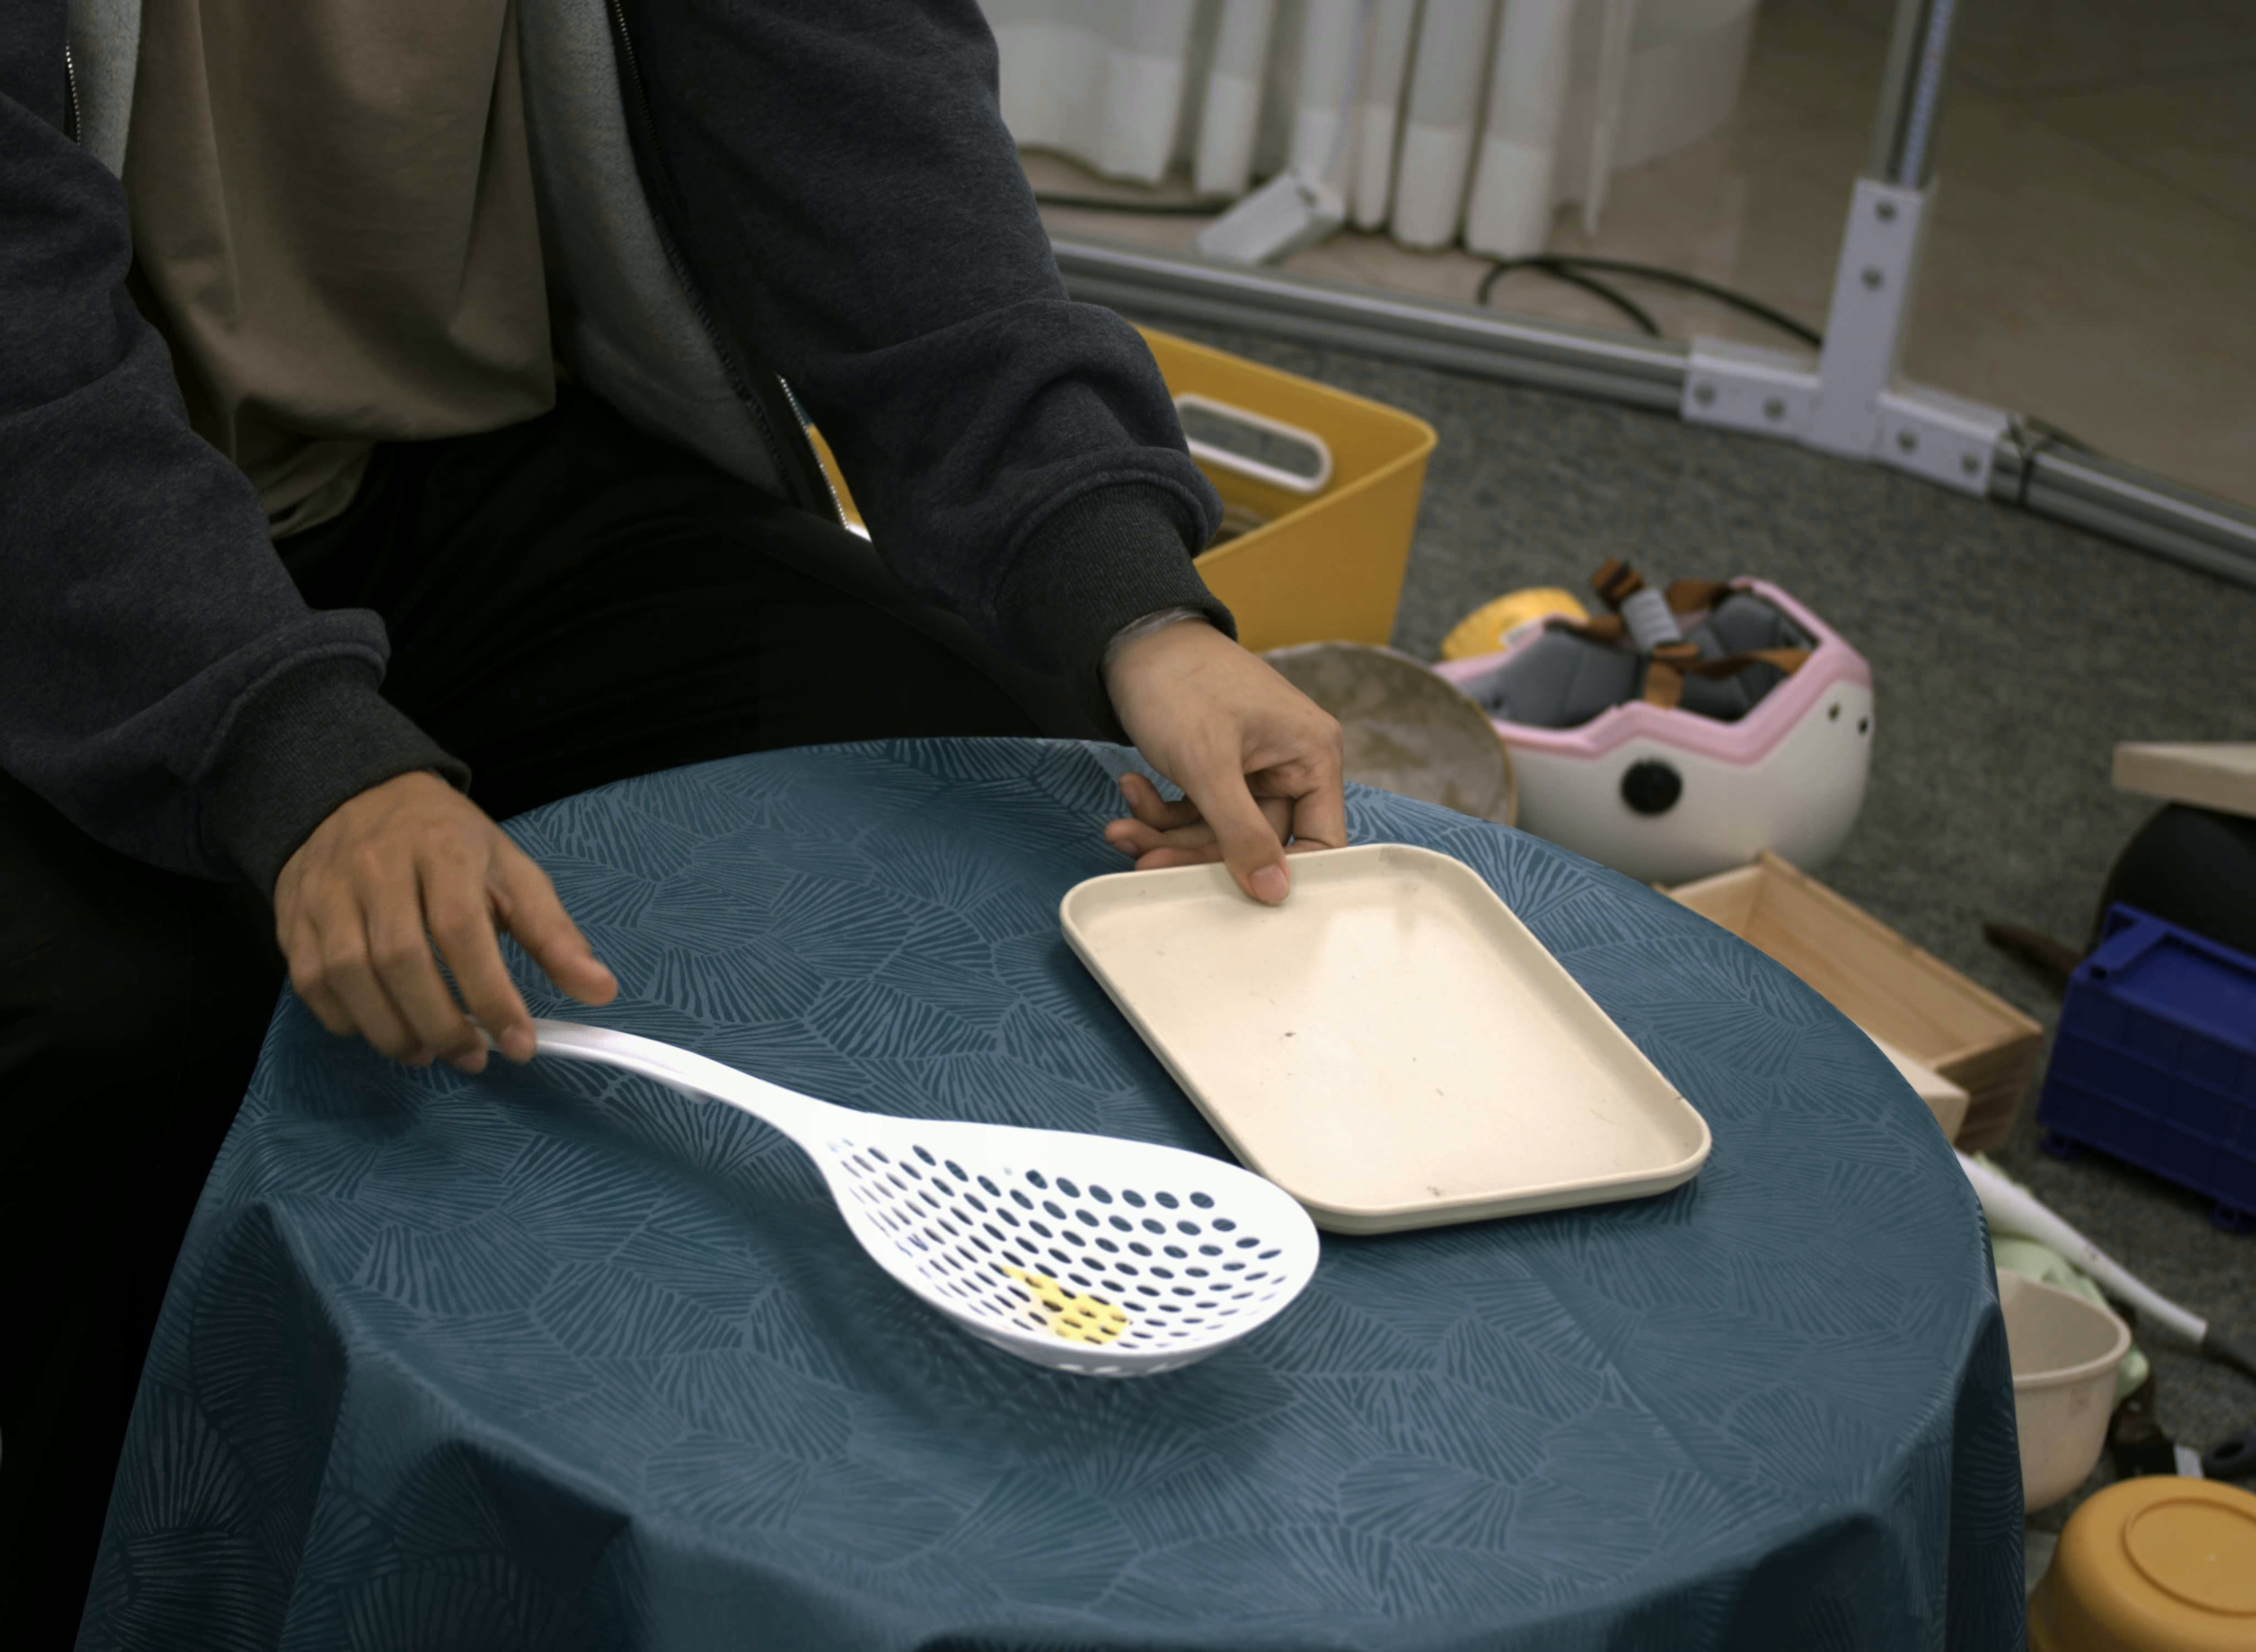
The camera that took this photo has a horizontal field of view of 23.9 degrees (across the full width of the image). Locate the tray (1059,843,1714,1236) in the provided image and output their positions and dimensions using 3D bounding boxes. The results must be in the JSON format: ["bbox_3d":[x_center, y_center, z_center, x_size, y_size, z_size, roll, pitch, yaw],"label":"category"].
[{"bbox_3d":[0.088,0.074,1.897,0.170,0.017,0.242,-7,30,-22],"label":"tray"}]

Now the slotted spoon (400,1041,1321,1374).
[{"bbox_3d":[-0.099,0.111,1.759,0.350,0.050,0.136,21,34,27],"label":"slotted spoon"}]
